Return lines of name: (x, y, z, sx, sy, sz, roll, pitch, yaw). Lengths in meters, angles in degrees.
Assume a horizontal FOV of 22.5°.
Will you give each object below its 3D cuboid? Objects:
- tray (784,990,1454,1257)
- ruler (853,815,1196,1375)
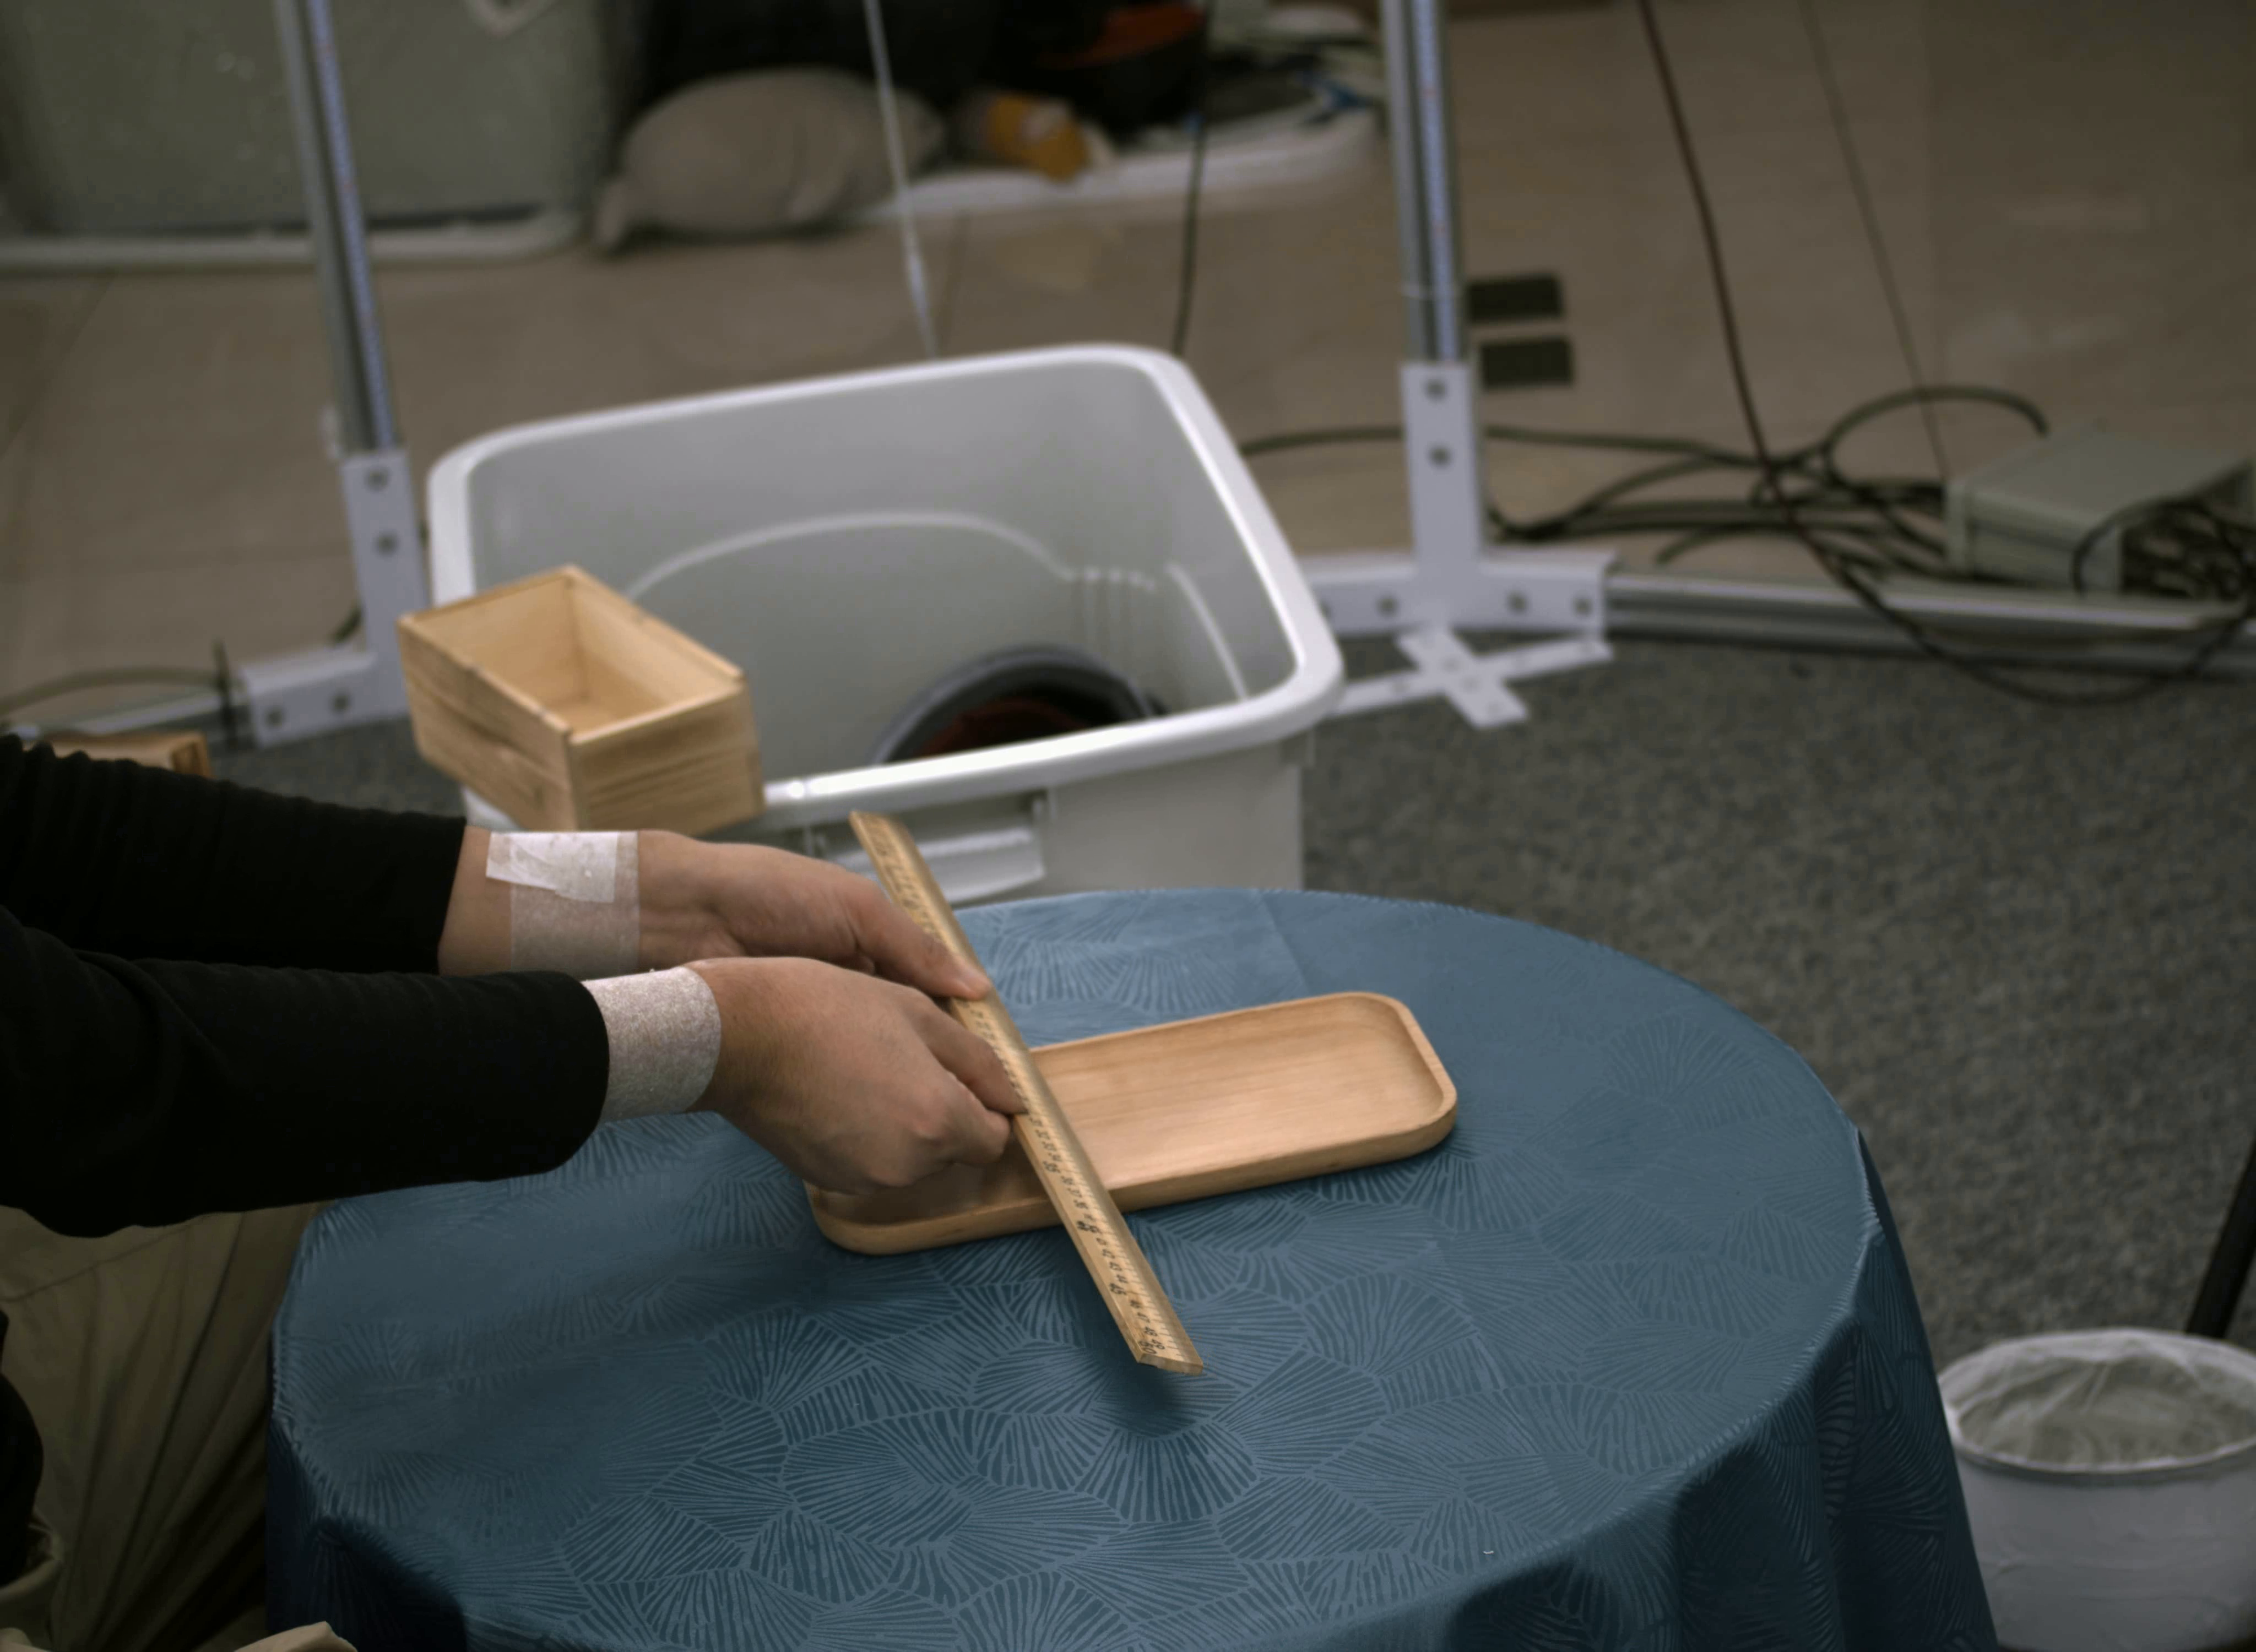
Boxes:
tray: (-0.004, 0.114, 2.183, 0.250, 0.023, 0.129, -11, 23, -6)
ruler: (-0.048, 0.093, 2.201, 0.027, 0.006, 0.493, 15, 18, -21)
